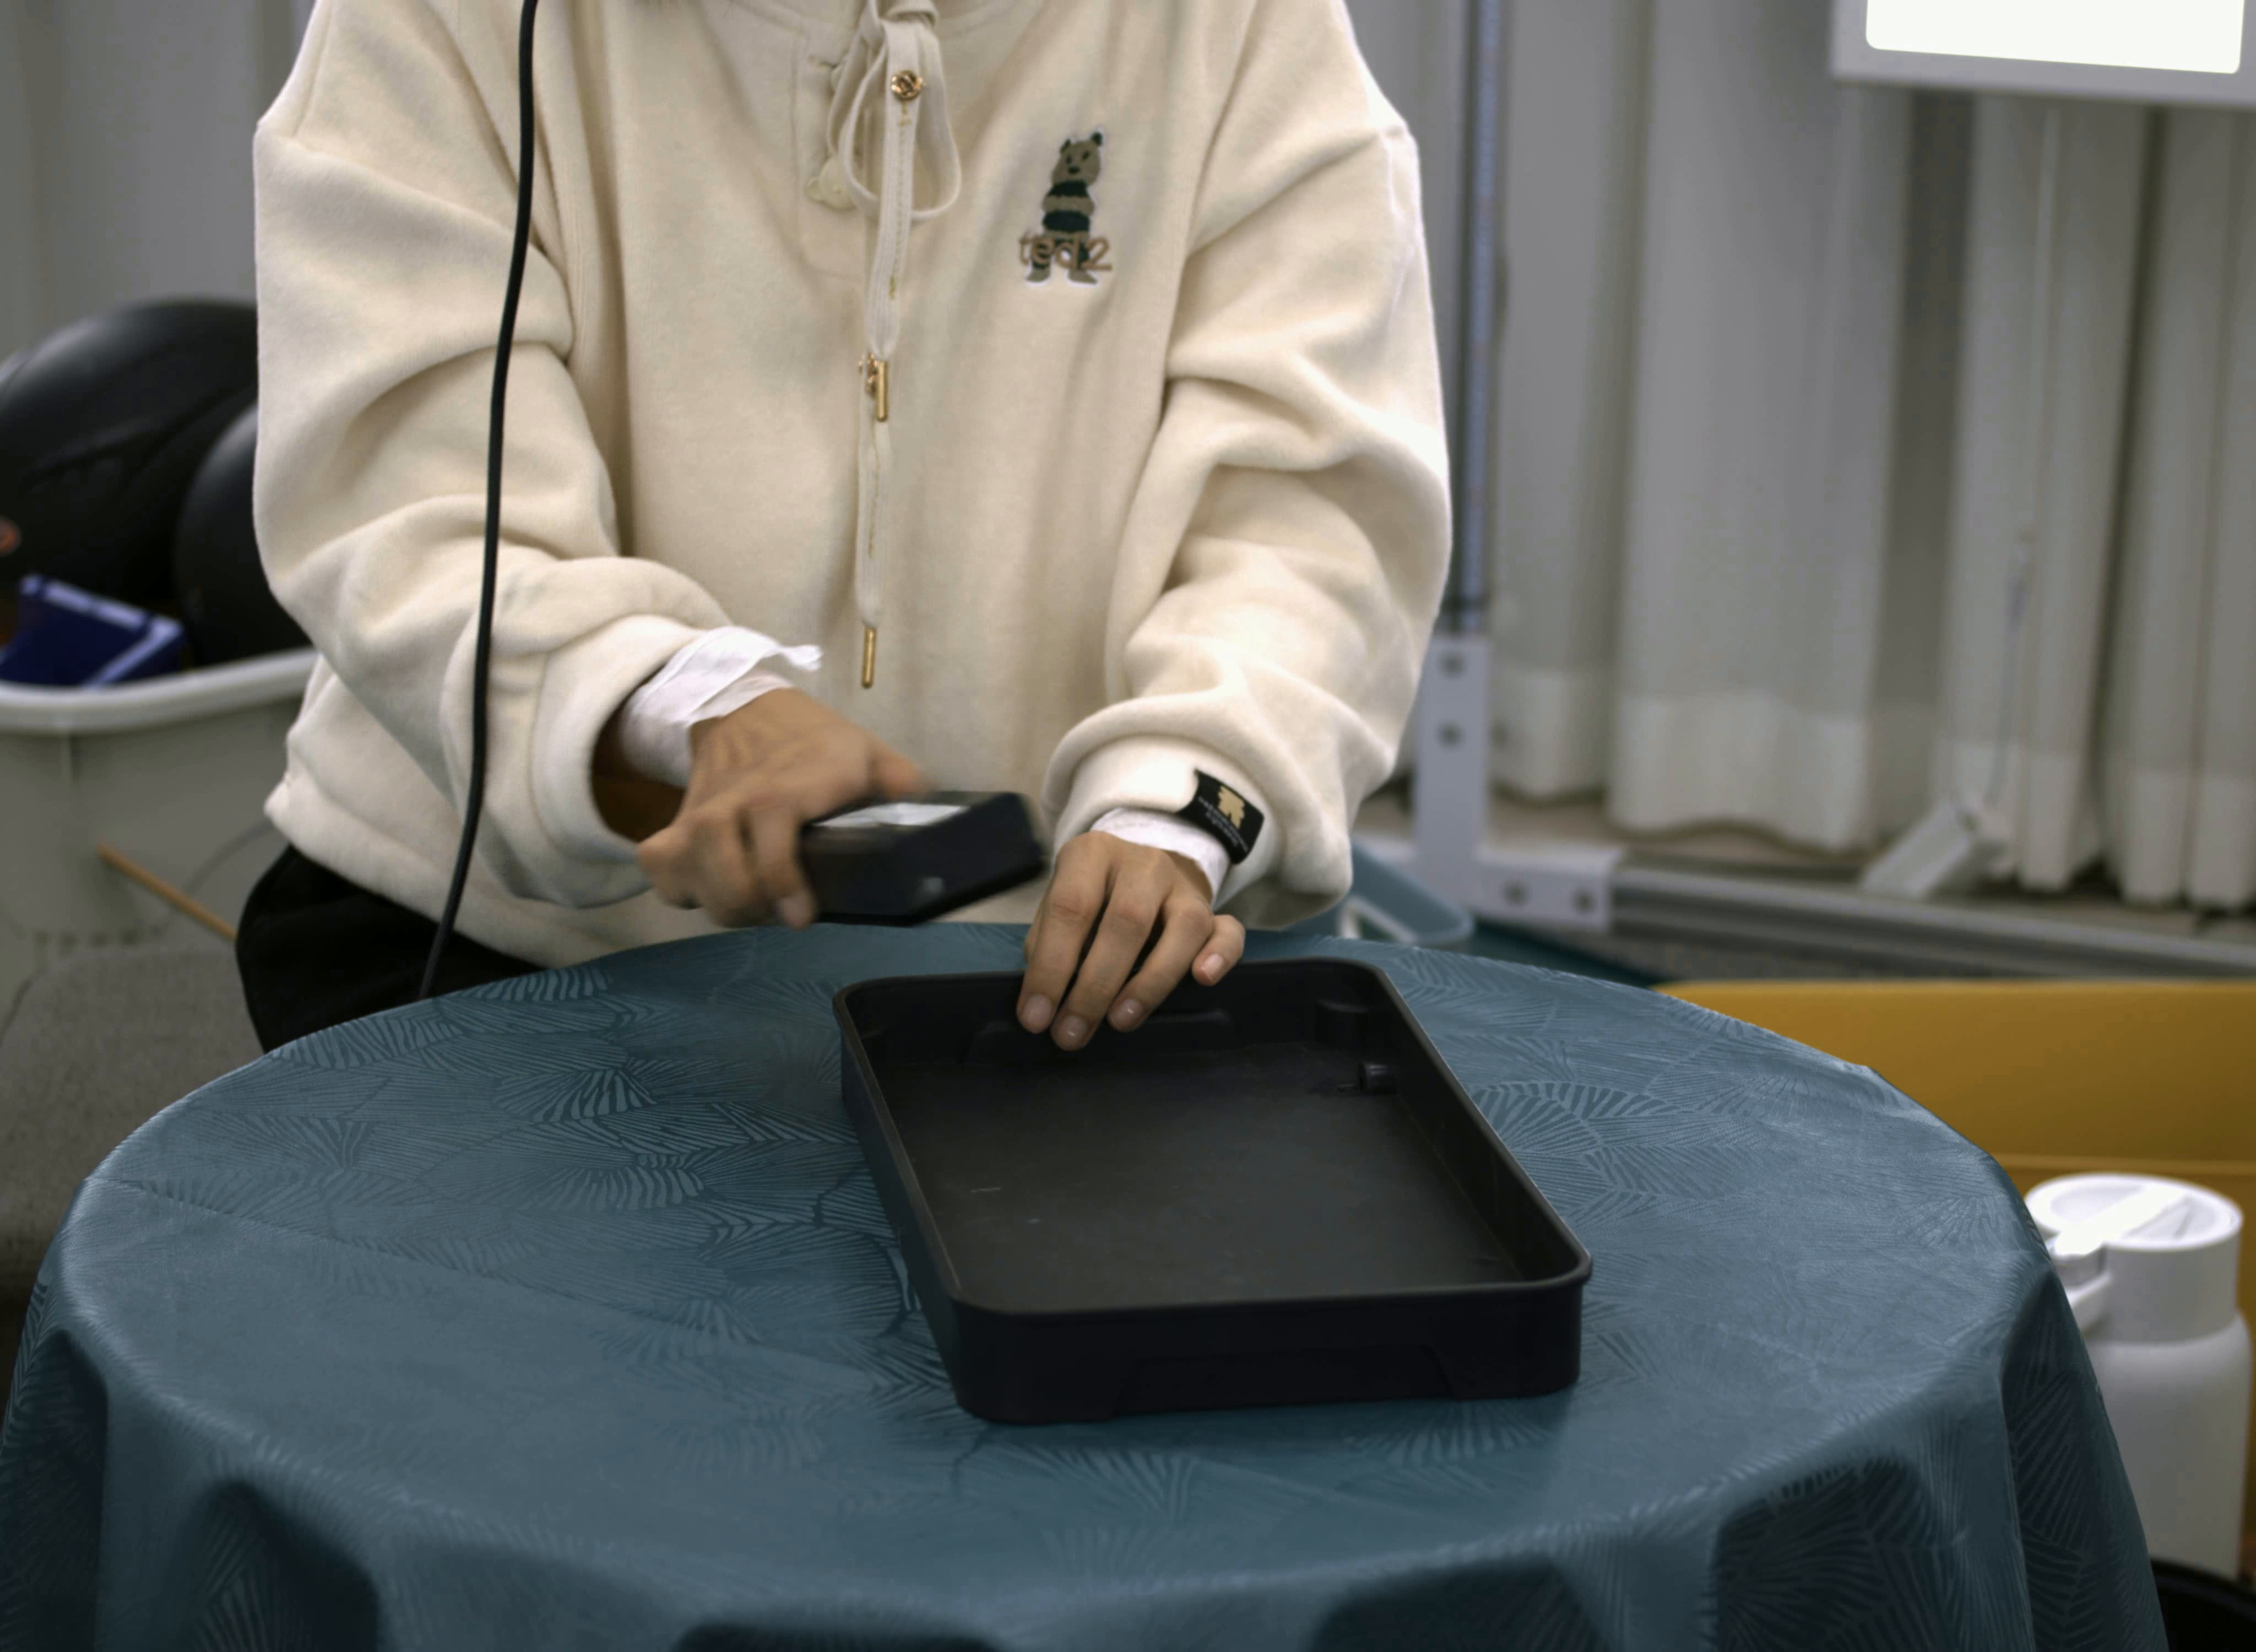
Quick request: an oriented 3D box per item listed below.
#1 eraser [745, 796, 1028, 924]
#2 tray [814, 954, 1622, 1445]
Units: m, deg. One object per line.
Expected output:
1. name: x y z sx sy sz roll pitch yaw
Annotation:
1. eraser: -0.076 0.011 1.659 0.053 0.030 0.124 -18 6 -21
2. tray: 0.018 0.105 1.577 0.184 0.037 0.315 -3 16 -12
